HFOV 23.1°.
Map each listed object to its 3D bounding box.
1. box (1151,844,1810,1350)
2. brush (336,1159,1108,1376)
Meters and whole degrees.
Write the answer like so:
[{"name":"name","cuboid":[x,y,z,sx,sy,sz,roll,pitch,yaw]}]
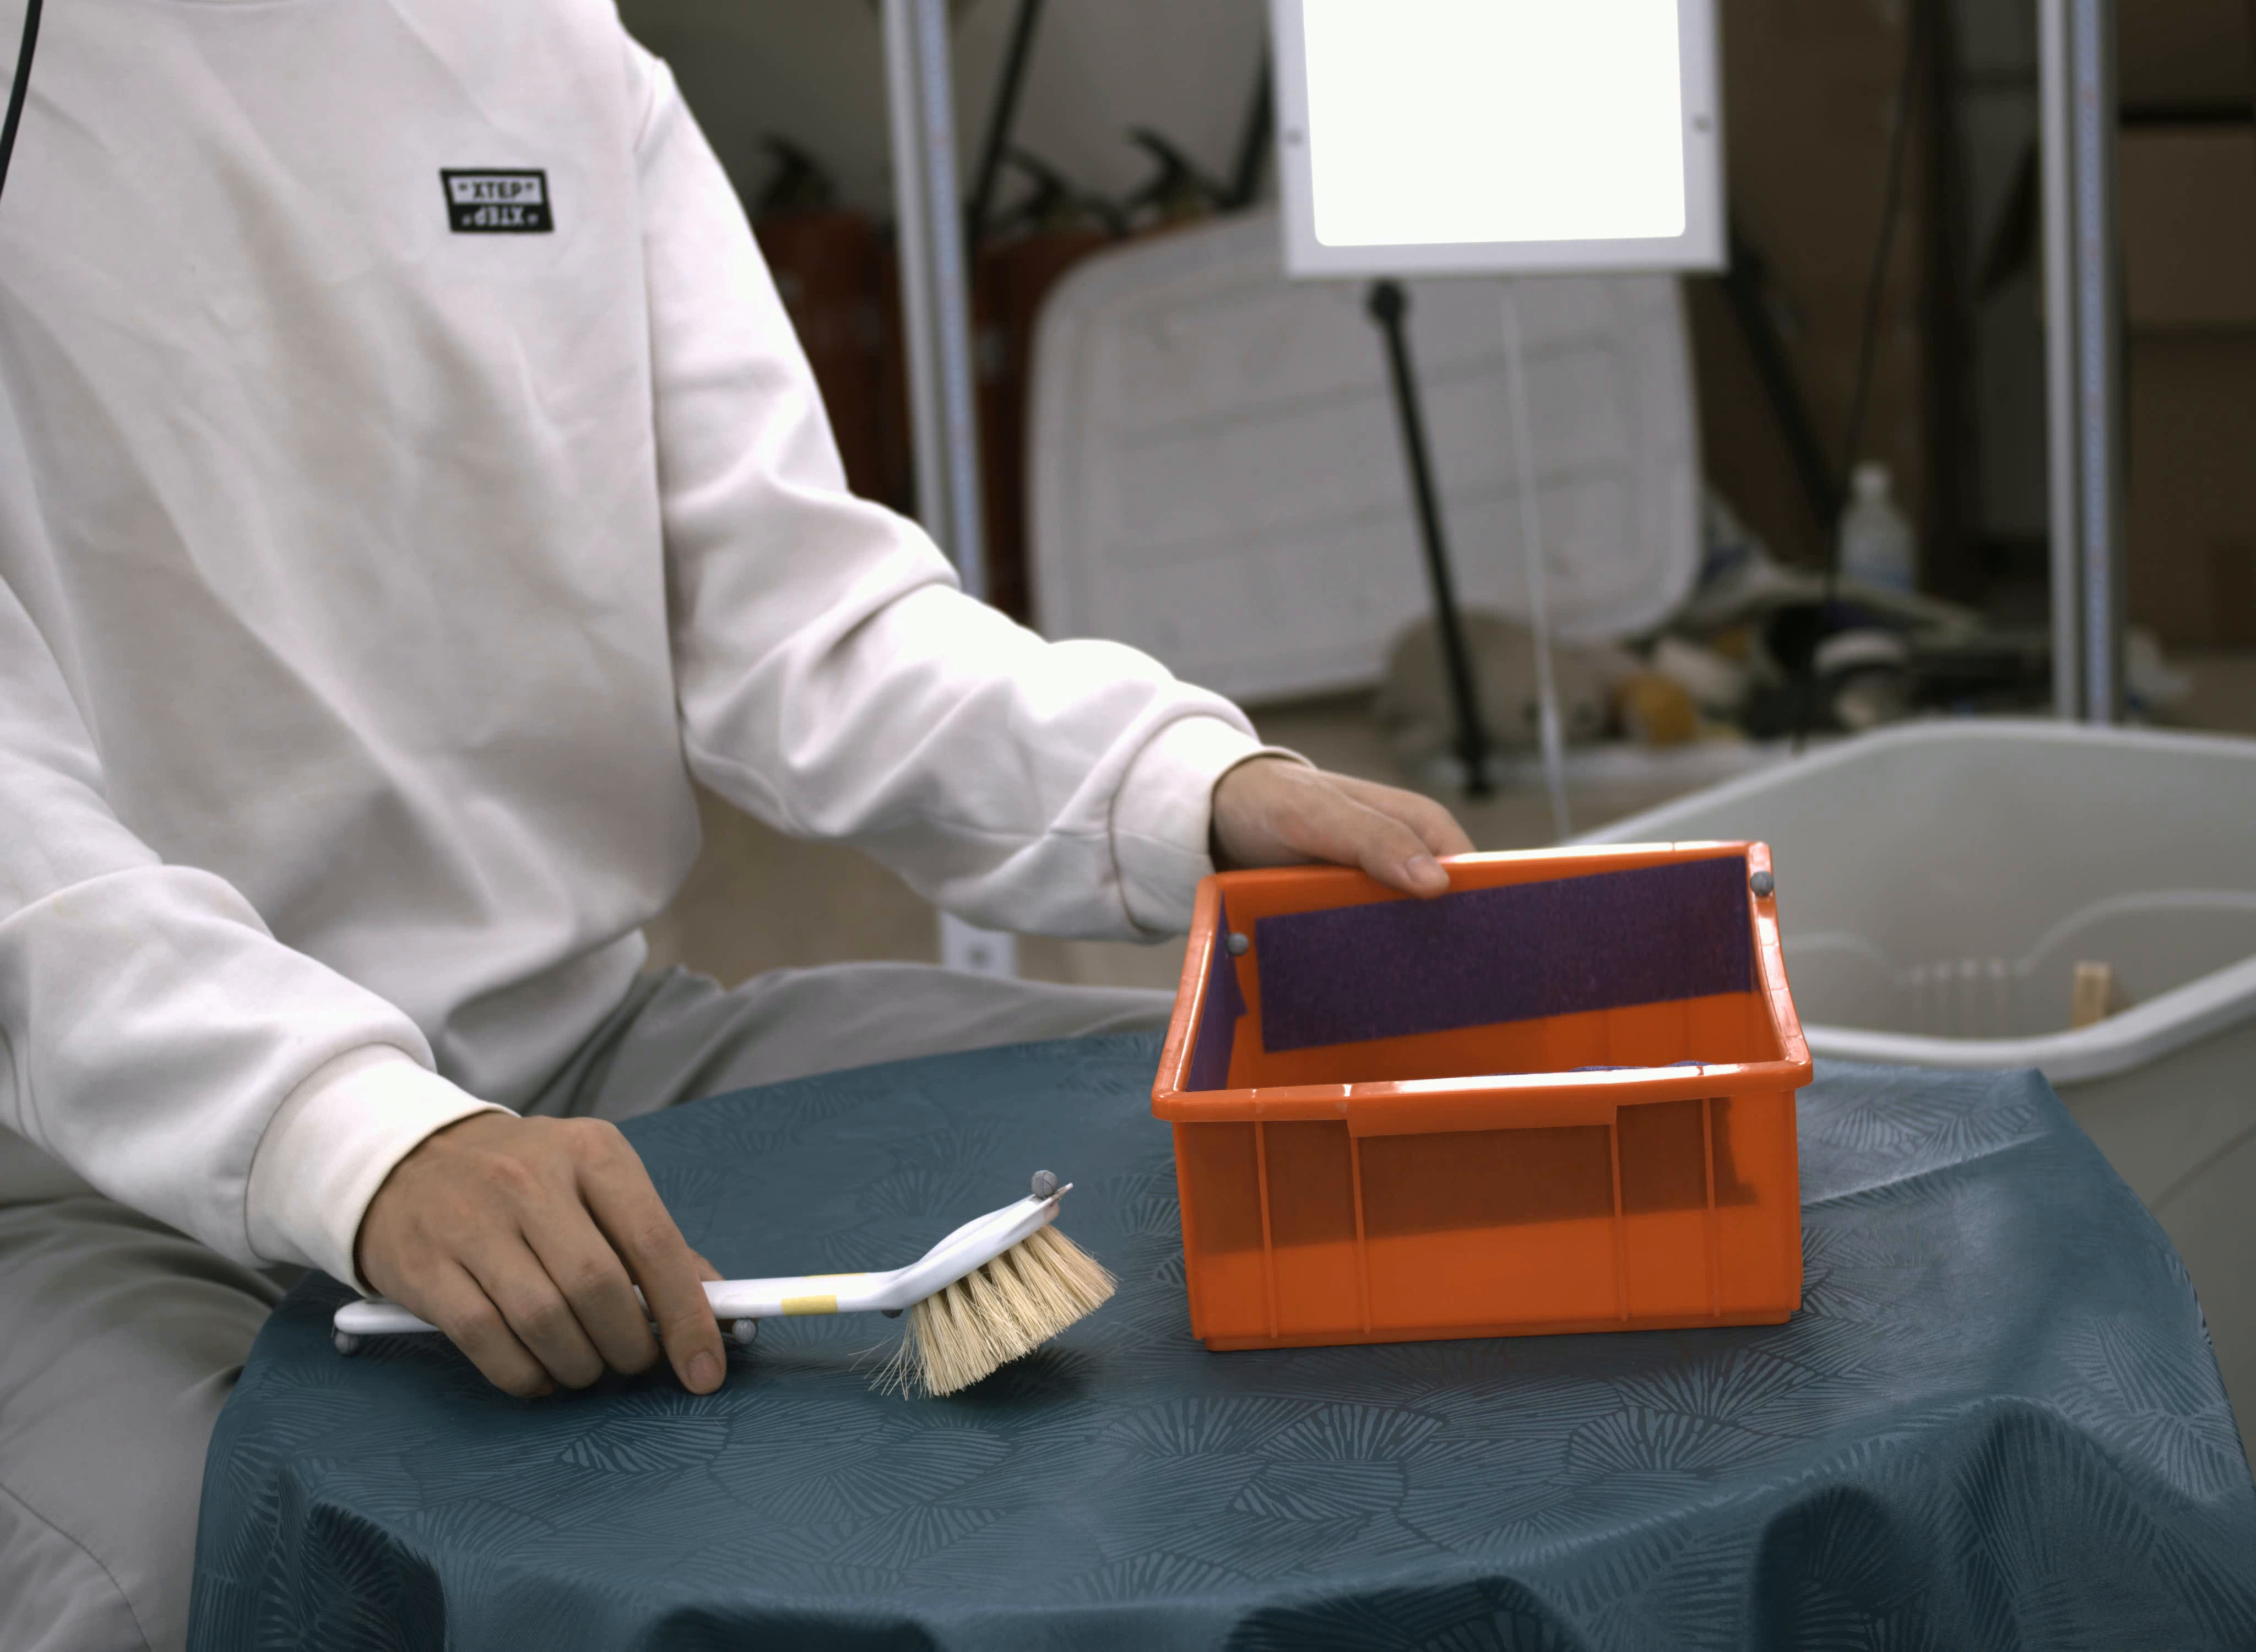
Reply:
[{"name":"box","cuboid":[0.122,0.088,1.832,0.207,0.097,0.301,-4,12,7]},{"name":"brush","cuboid":[-0.130,0.162,1.761,0.270,0.056,0.067,-15,-4,21]}]
